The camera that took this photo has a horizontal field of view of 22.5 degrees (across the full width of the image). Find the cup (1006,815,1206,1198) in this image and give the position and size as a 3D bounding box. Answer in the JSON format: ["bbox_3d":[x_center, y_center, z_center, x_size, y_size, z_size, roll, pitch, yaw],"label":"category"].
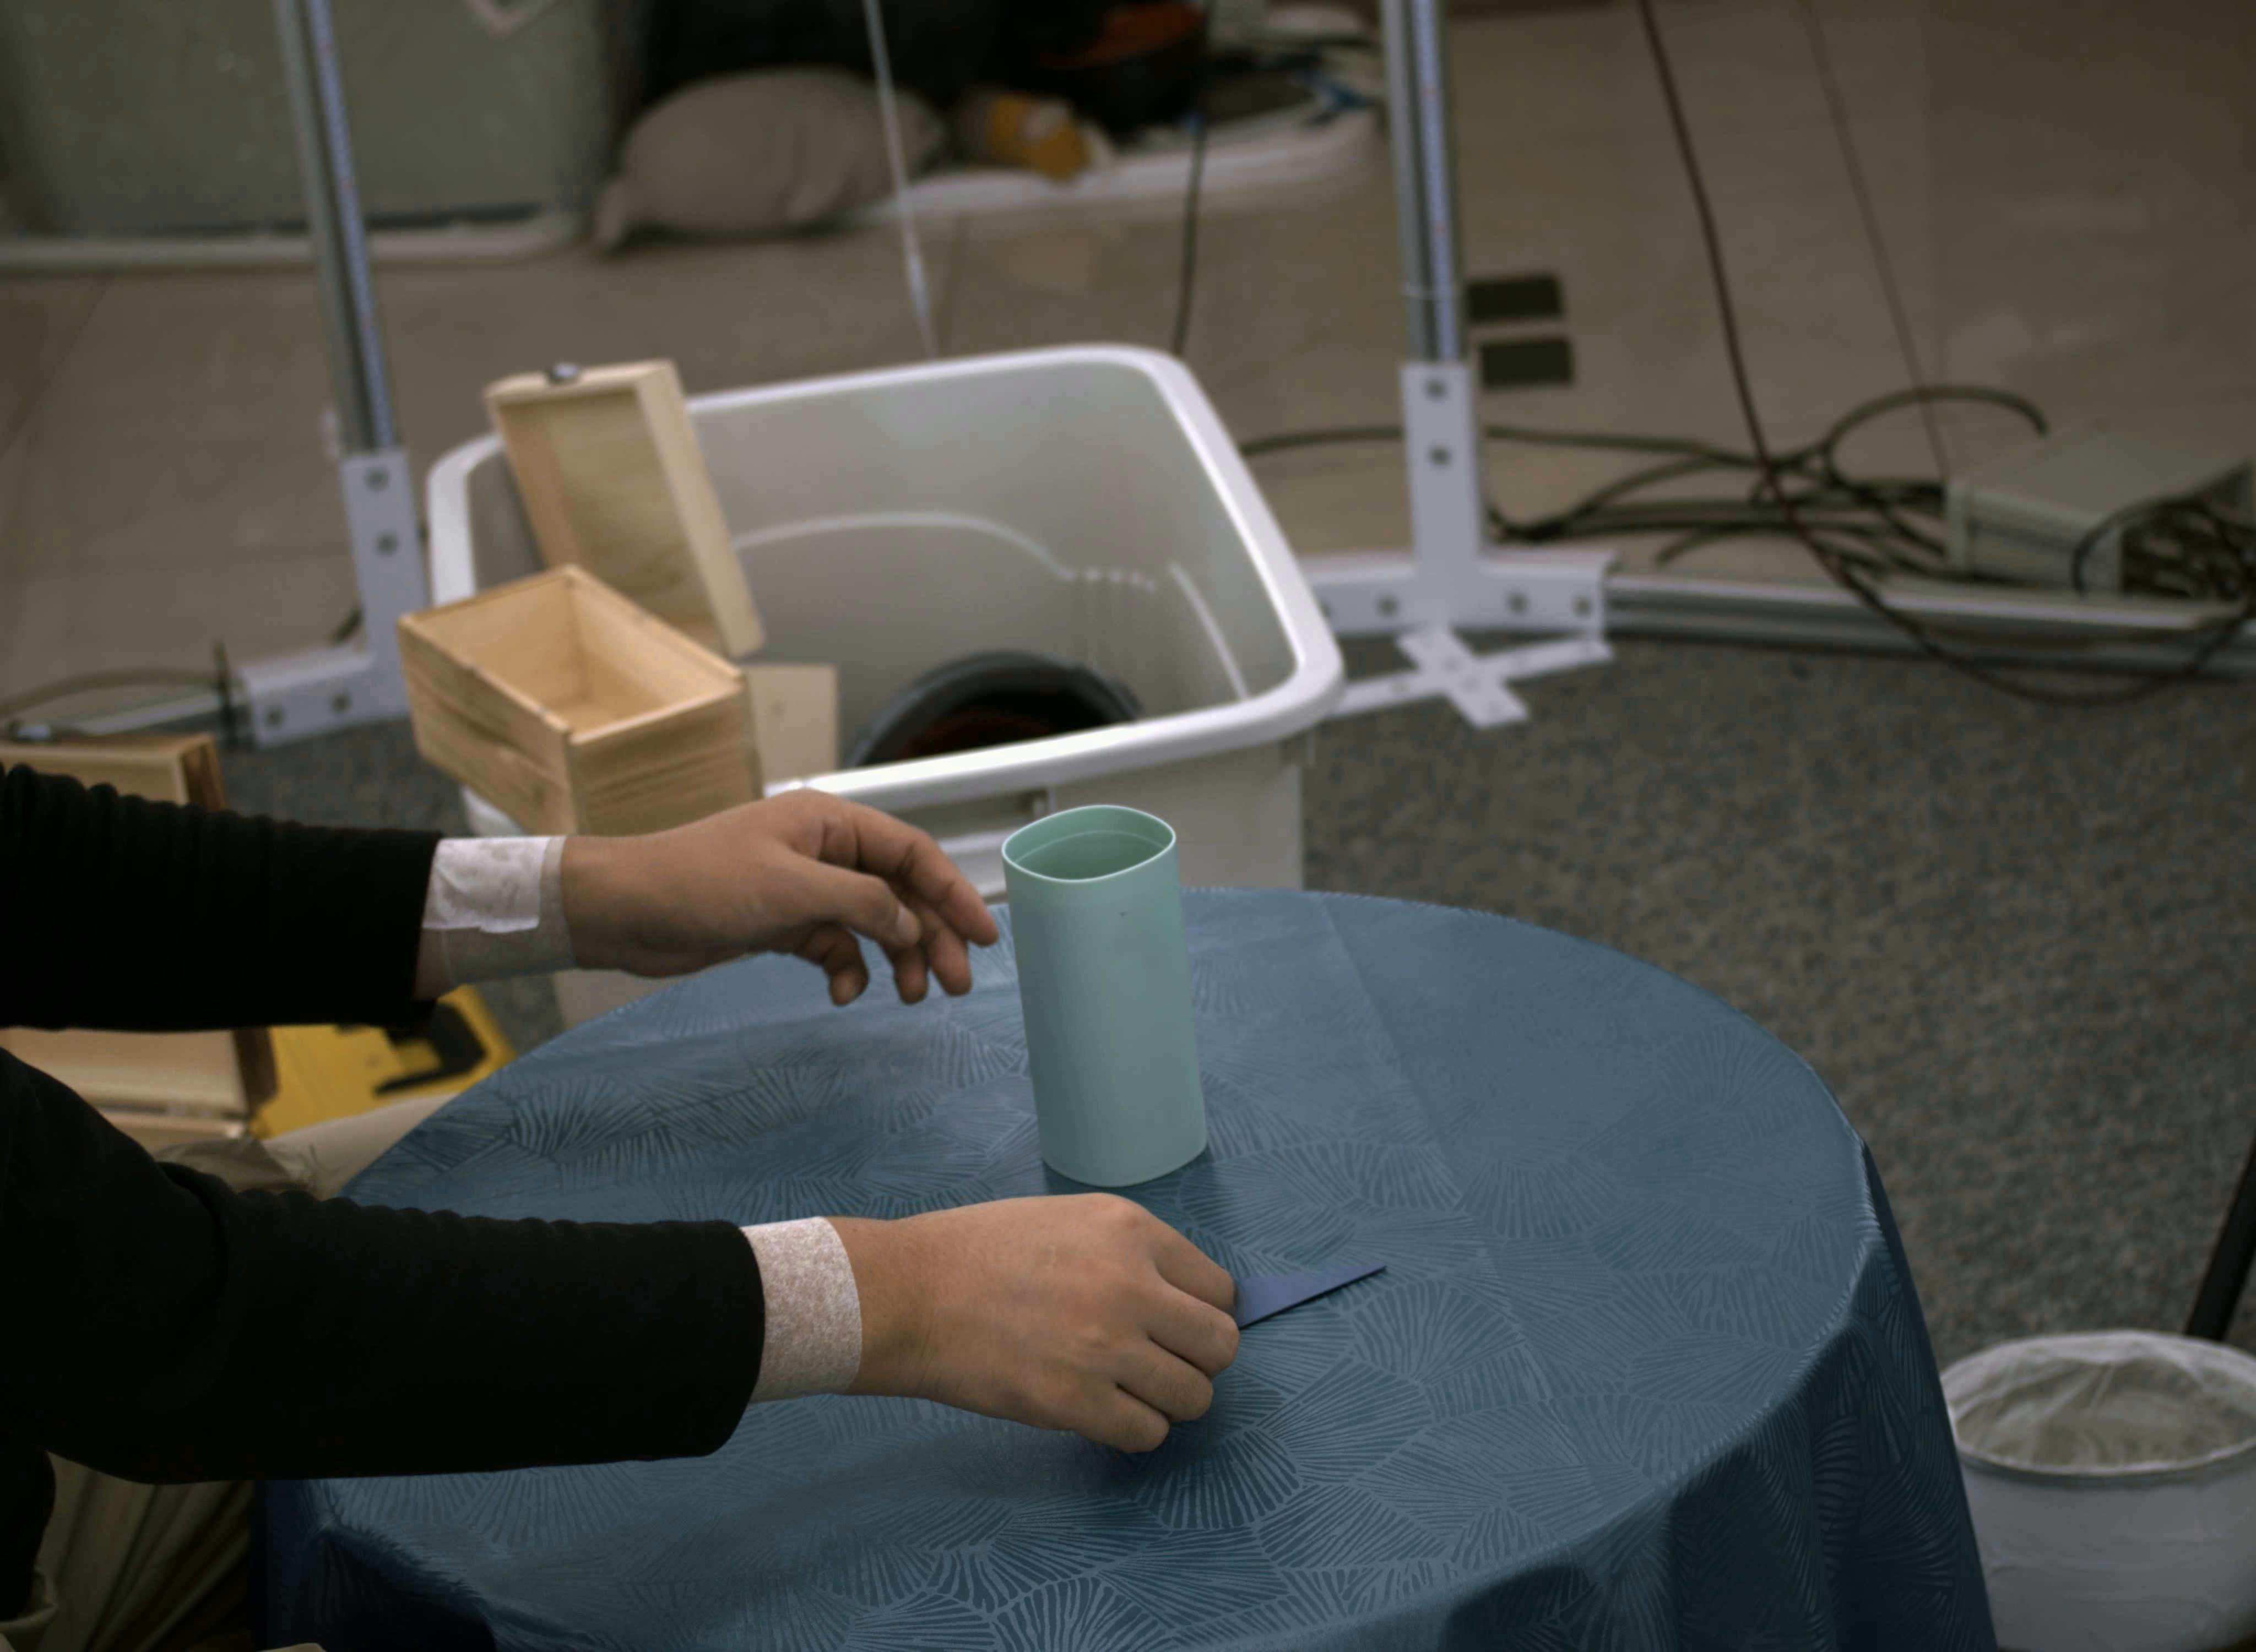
[{"bbox_3d":[-0.009,0.069,2.153,0.066,0.134,0.066,-5,26,2],"label":"cup"}]

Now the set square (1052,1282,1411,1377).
[{"bbox_3d":[0.036,0.180,2.042,0.132,0.006,0.060,-5,21,4],"label":"set square"}]
